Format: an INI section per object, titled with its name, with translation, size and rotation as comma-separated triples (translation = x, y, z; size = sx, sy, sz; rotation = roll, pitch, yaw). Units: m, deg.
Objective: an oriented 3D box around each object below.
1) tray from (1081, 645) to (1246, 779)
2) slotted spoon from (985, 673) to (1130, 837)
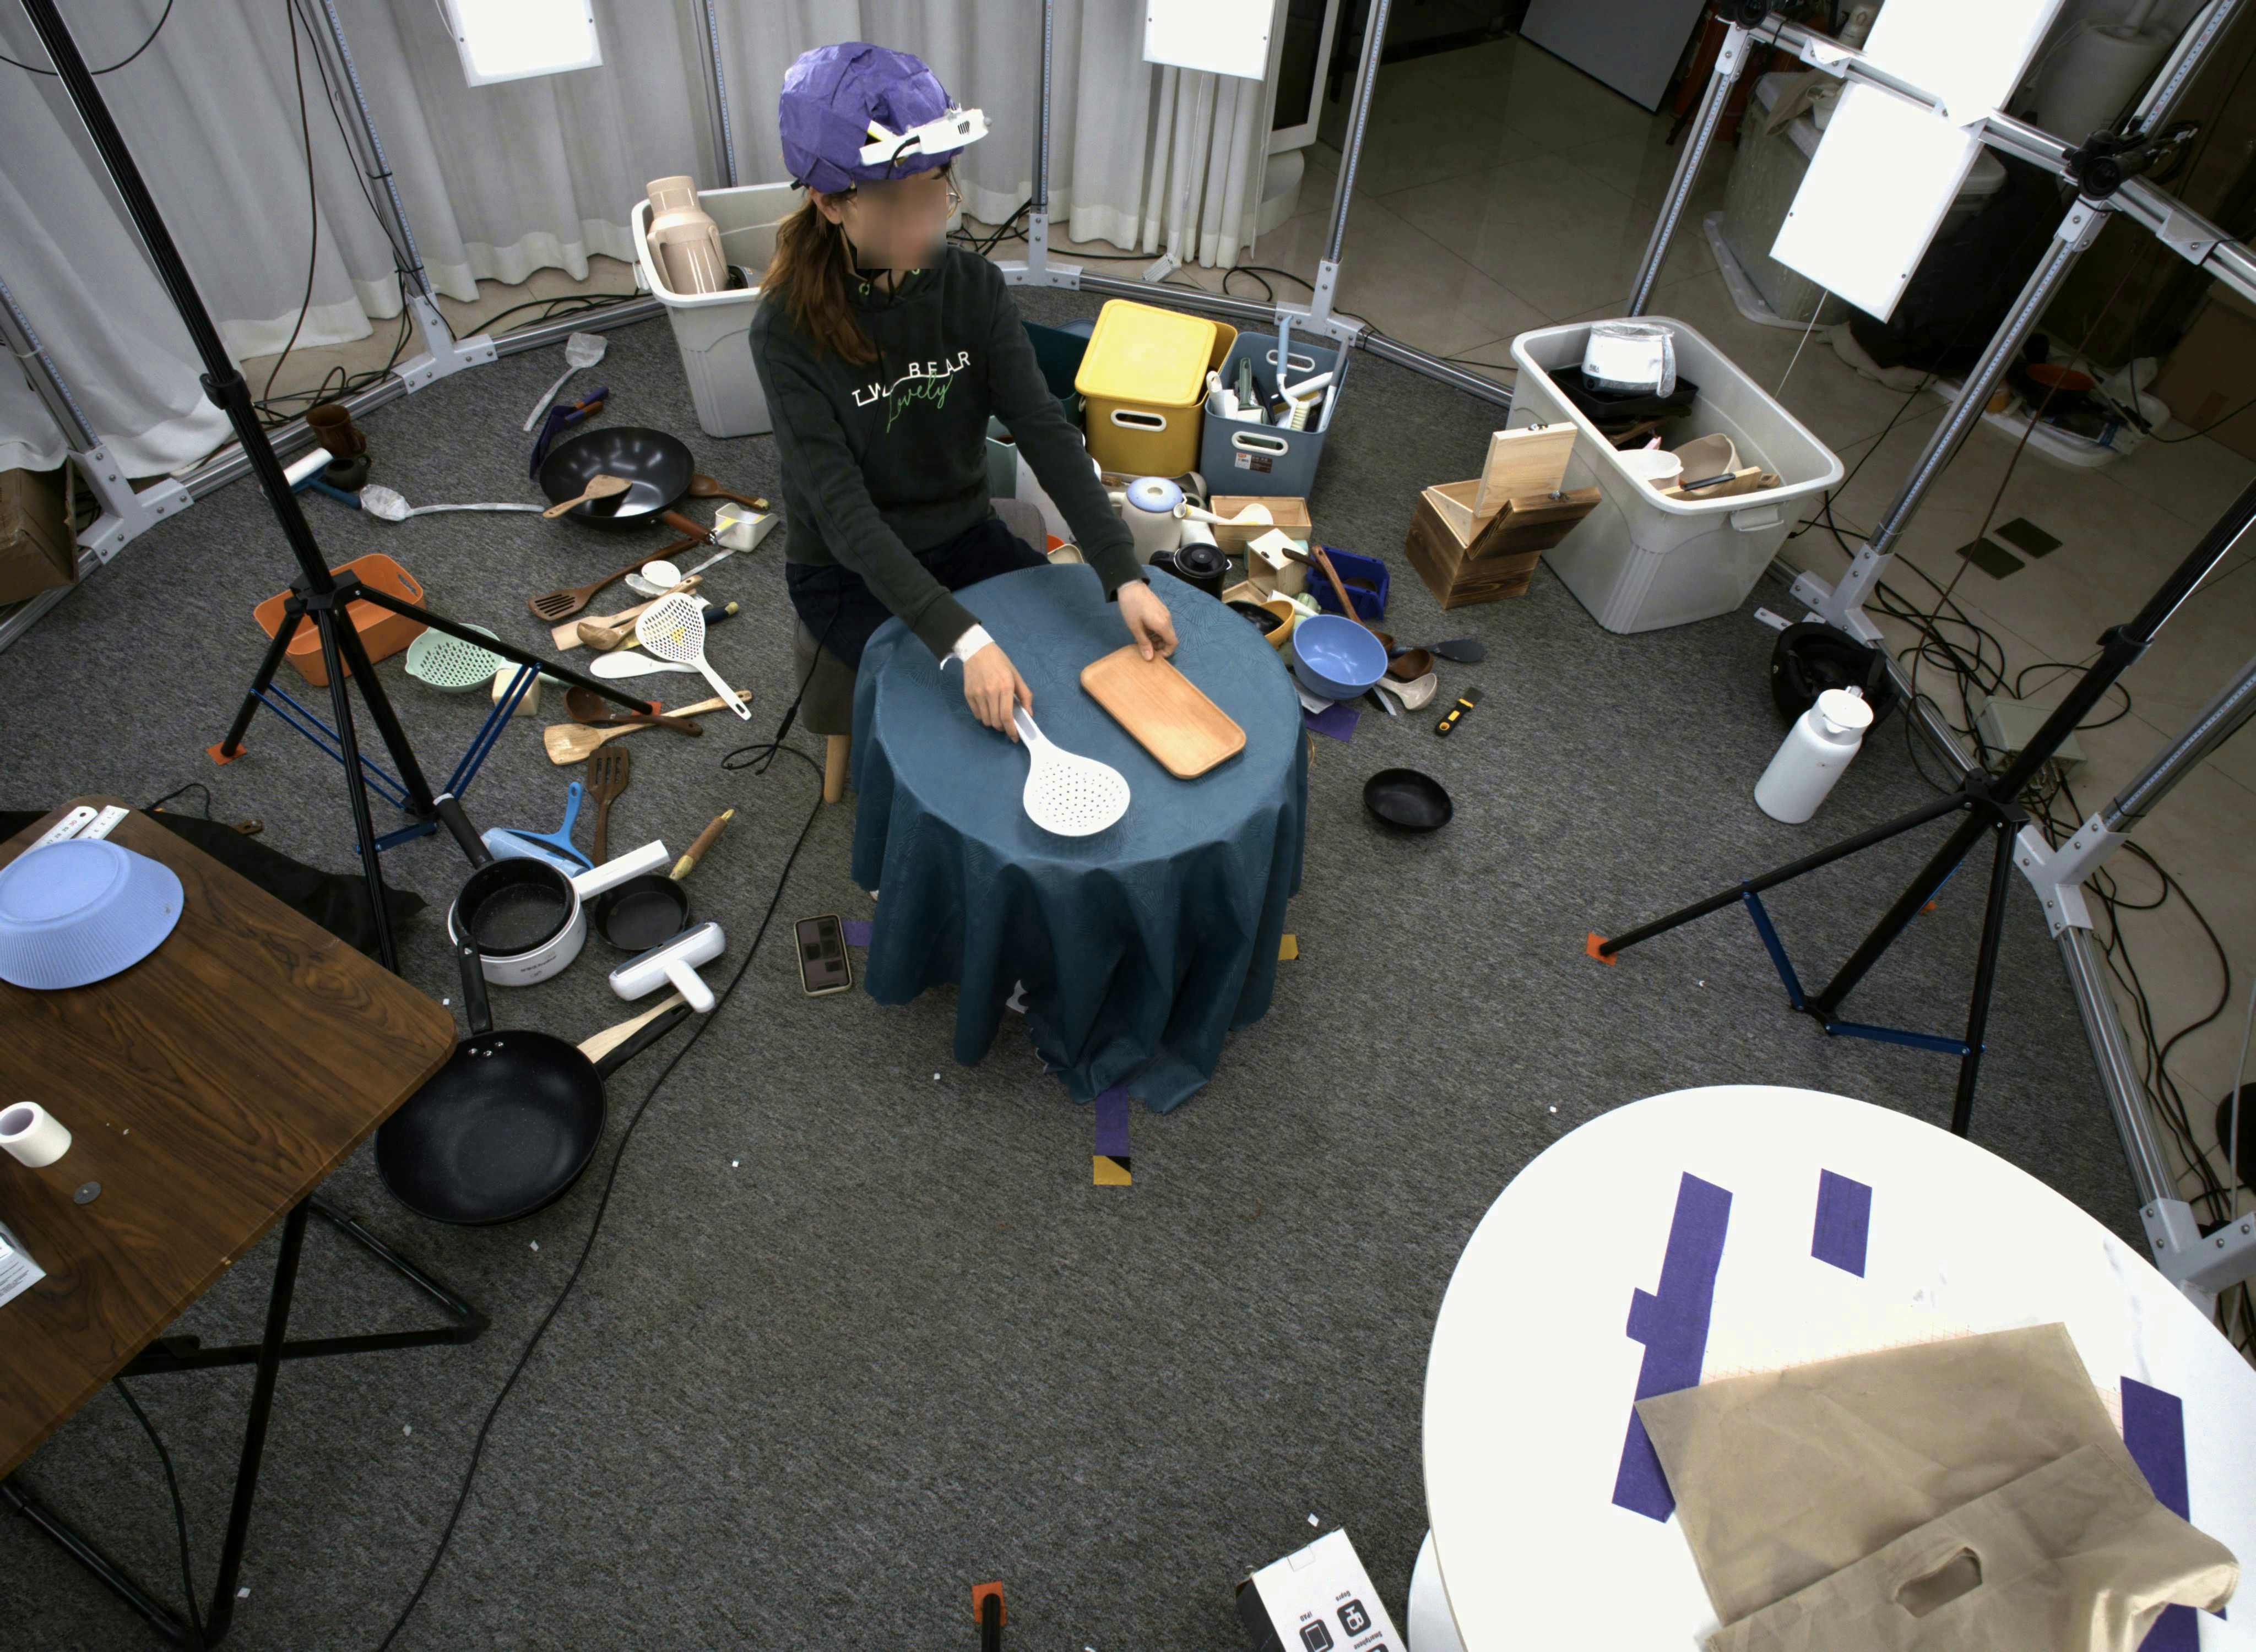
[tray]
translation = 0.048, -0.164, 1.817
size = 0.131, 0.022, 0.255
rotation = -28, 55, -26
[slotted spoon]
translation = -0.115, -0.102, 1.735
size = 0.136, 0.044, 0.357
rotation = -19, 52, -19
